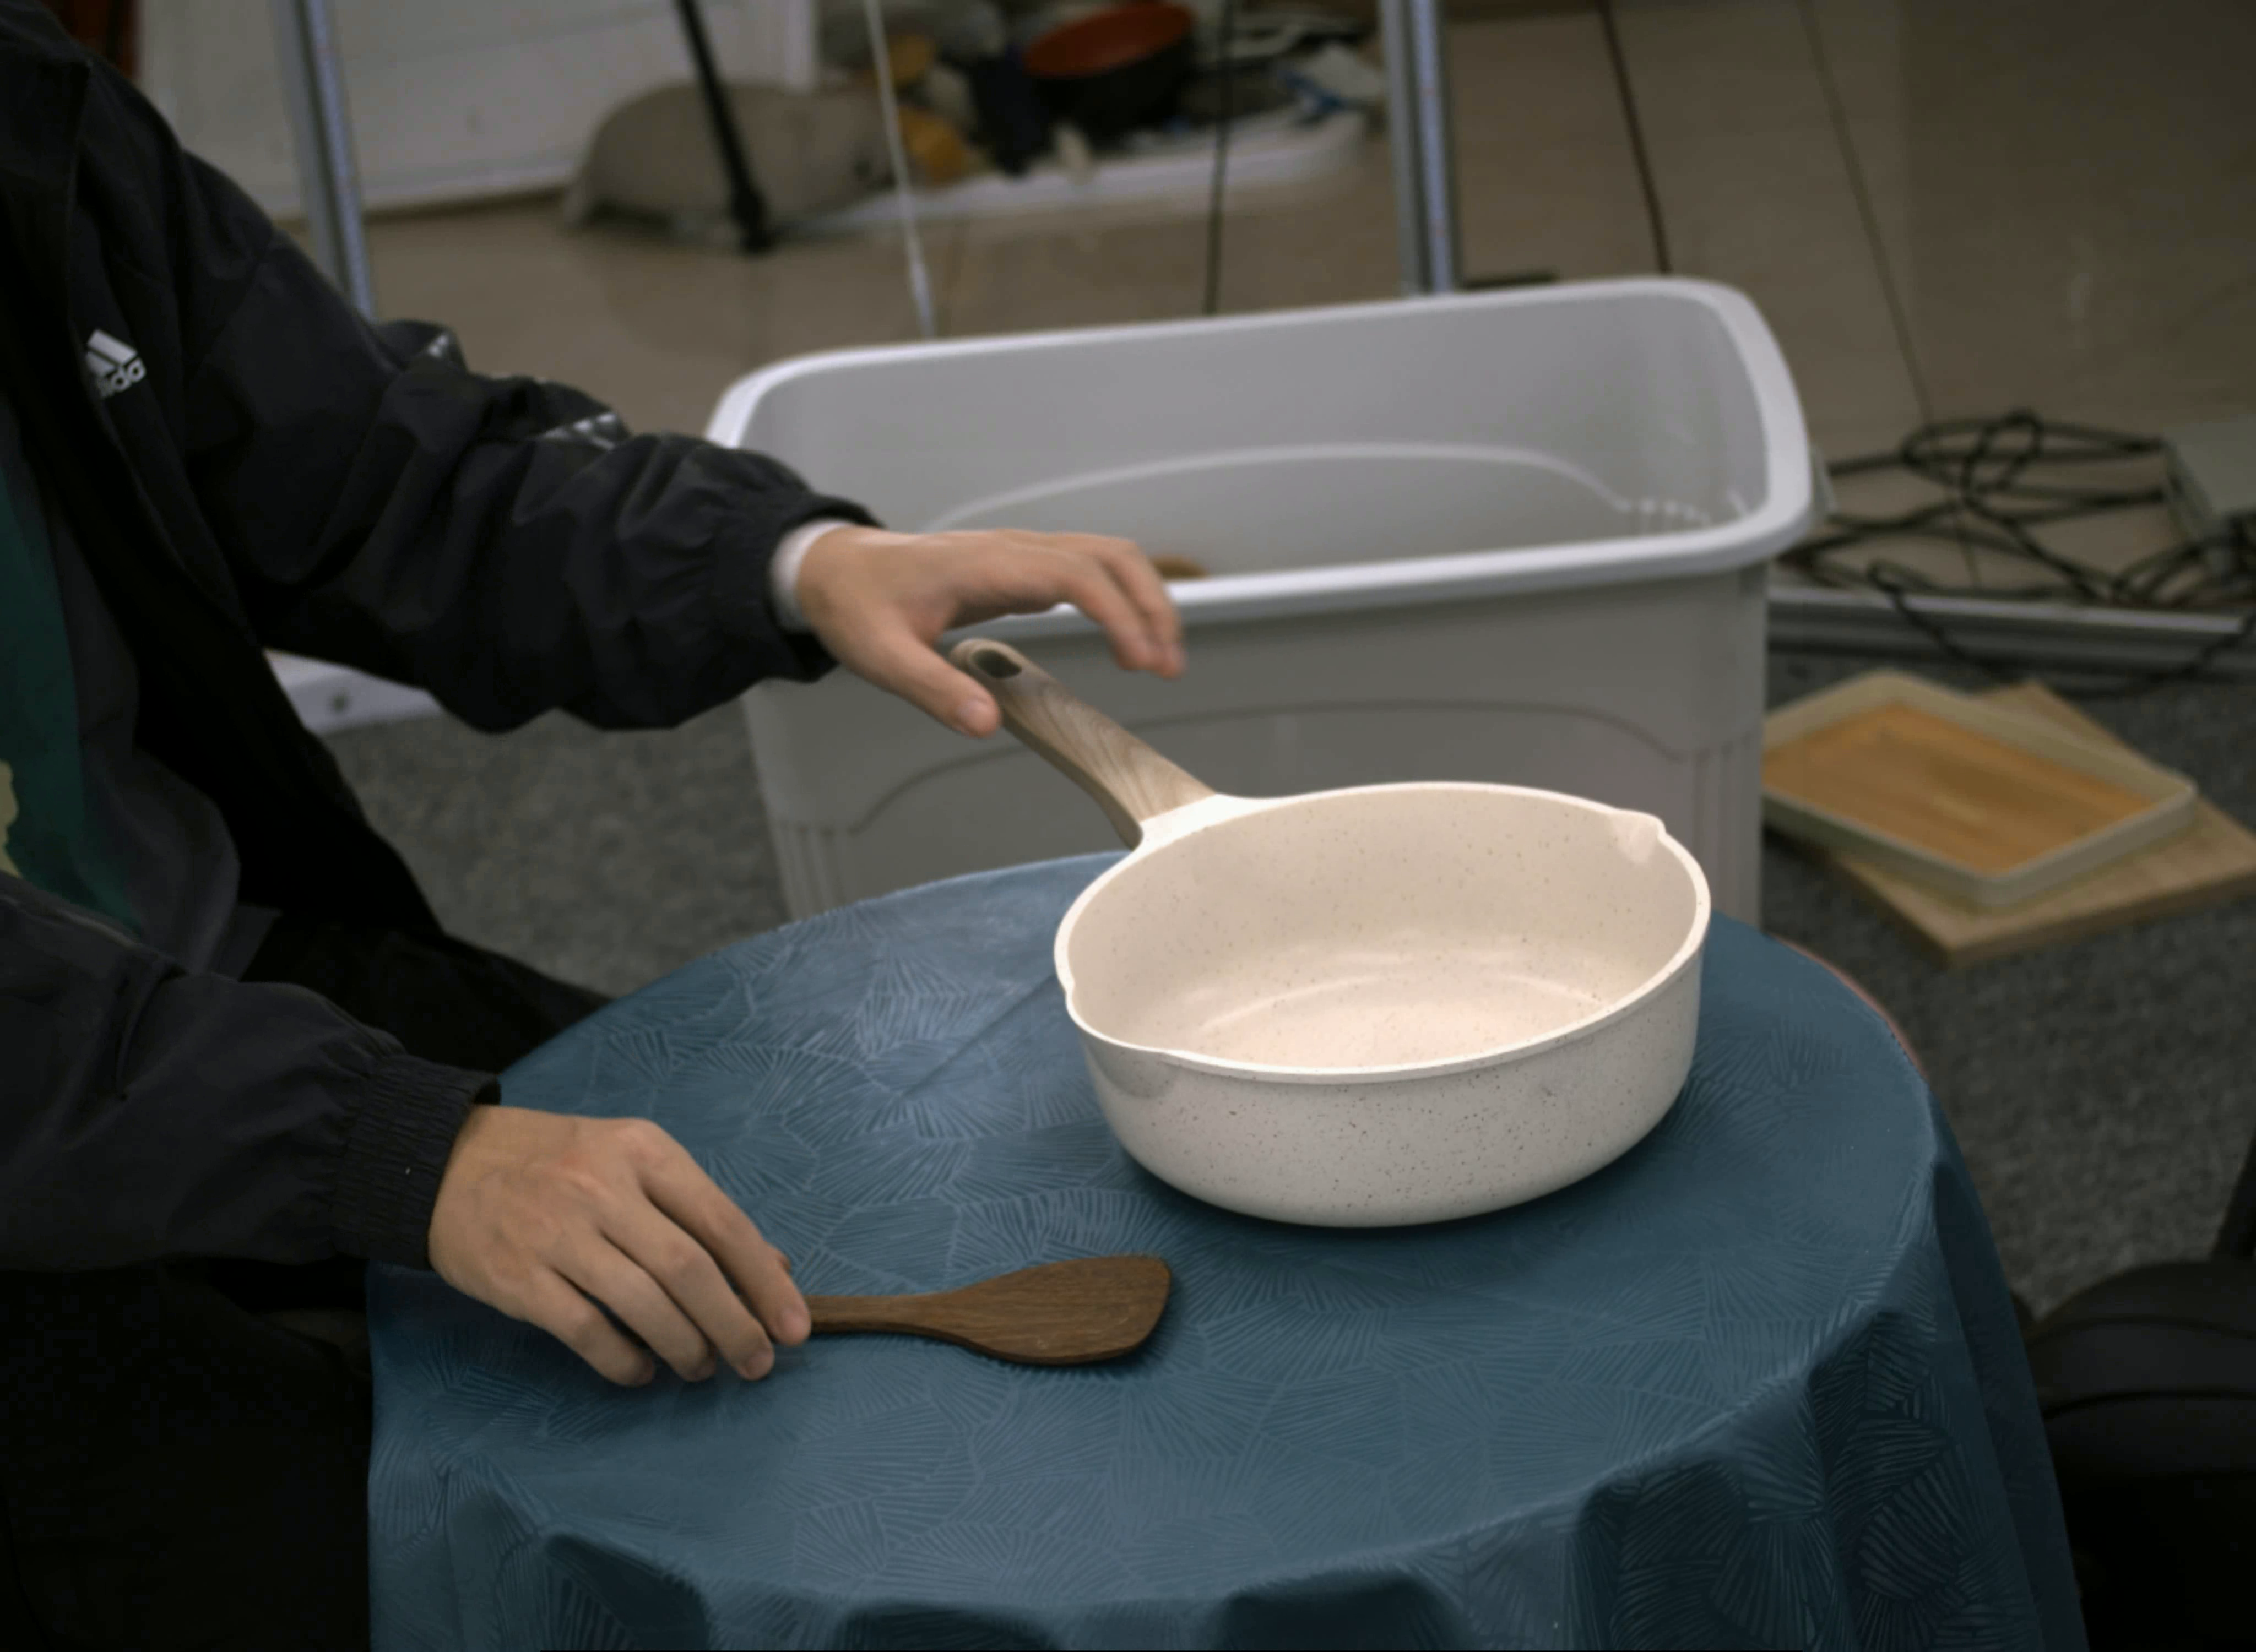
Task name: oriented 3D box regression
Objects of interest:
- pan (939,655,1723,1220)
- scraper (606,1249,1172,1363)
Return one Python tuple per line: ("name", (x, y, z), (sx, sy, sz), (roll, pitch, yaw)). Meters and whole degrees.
("pan", (0.054, 0.036, 2.238), (0.262, 0.103, 0.430), (-22, 28, -26))
("scraper", (-0.088, 0.178, 2.075), (0.211, 0.011, 0.075), (-2, 24, 11))
